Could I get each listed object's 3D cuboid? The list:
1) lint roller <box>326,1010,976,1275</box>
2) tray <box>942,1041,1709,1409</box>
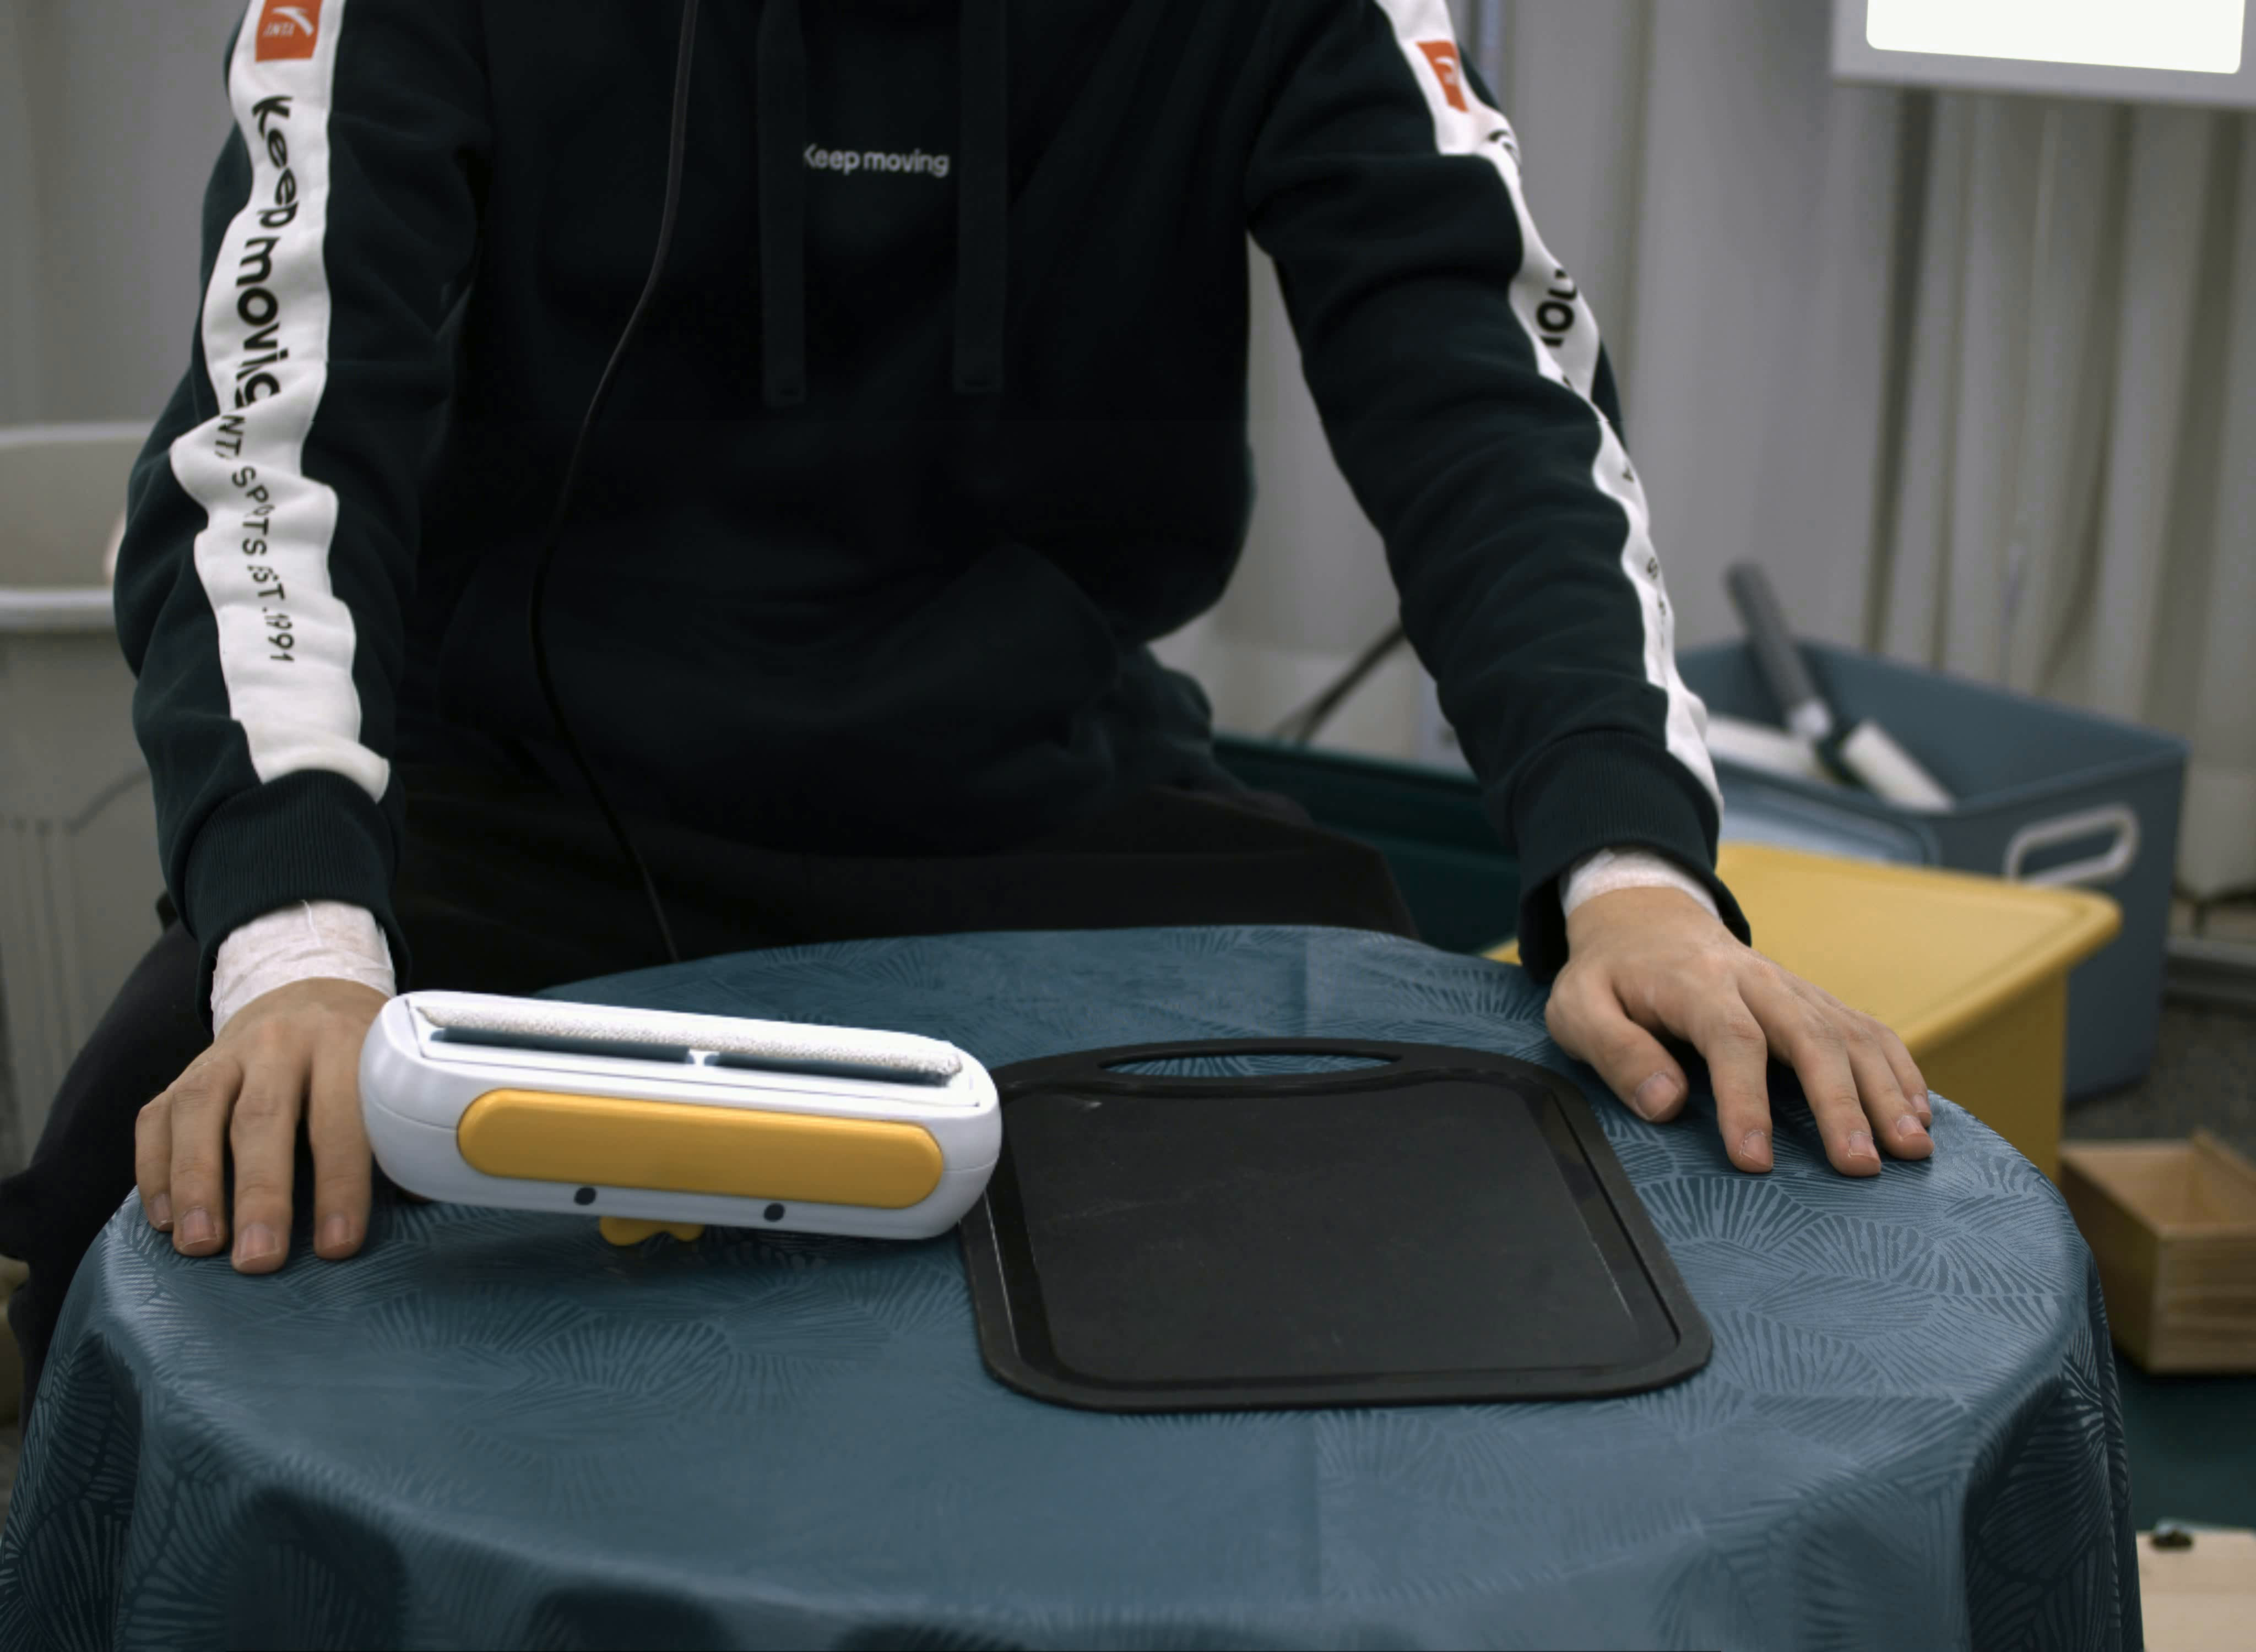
[{"bbox_3d":[-0.152,0.096,1.613,0.193,0.074,0.191,4,0,-12],"label":"lint roller"},{"bbox_3d":[0.051,0.114,1.602,0.211,0.010,0.323,-1,15,-5],"label":"tray"}]
